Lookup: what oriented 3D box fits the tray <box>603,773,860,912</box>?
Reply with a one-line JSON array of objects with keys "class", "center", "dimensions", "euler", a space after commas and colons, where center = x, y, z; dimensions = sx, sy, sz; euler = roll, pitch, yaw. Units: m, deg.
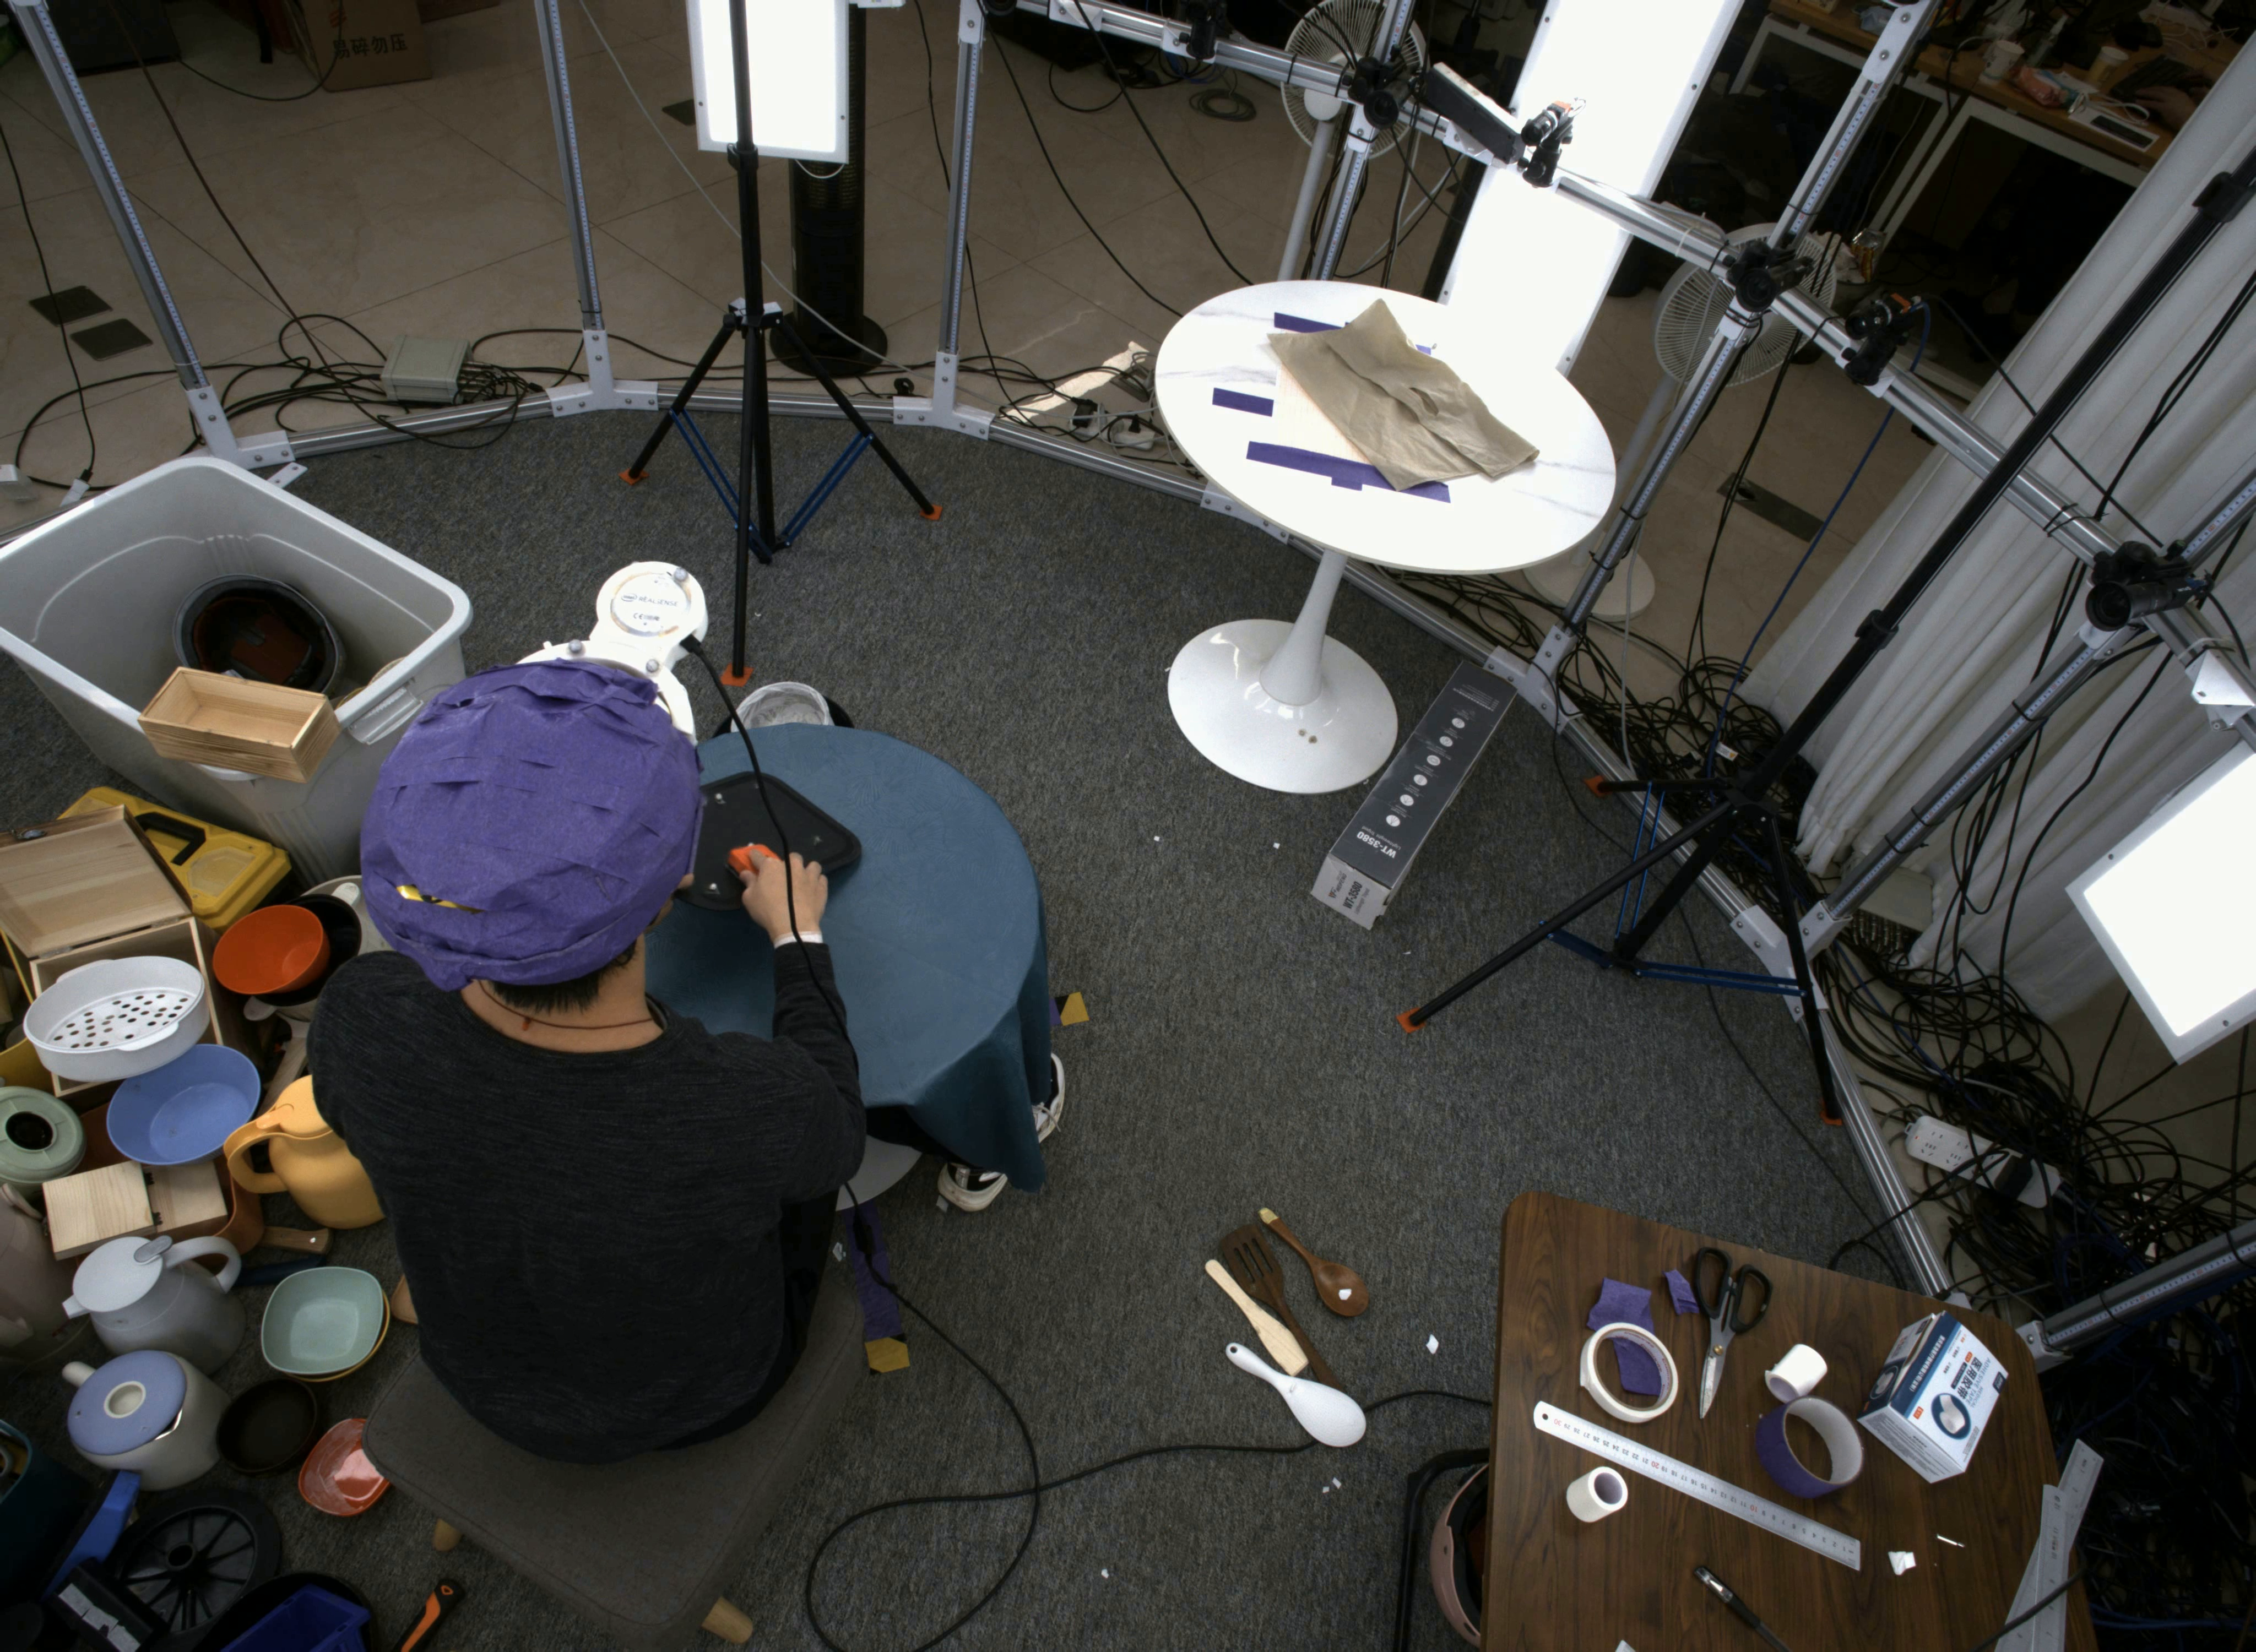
[{"class": "tray", "center": [-0.489, 0.013, 1.597], "dimensions": [0.207, 0.010, 0.327], "euler": [35, 26, 14]}]

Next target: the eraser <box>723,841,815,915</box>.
[{"class": "eraser", "center": [-0.428, 0.059, 1.544], "dimensions": [0.105, 0.023, 0.059], "euler": [39, 29, 17]}]
